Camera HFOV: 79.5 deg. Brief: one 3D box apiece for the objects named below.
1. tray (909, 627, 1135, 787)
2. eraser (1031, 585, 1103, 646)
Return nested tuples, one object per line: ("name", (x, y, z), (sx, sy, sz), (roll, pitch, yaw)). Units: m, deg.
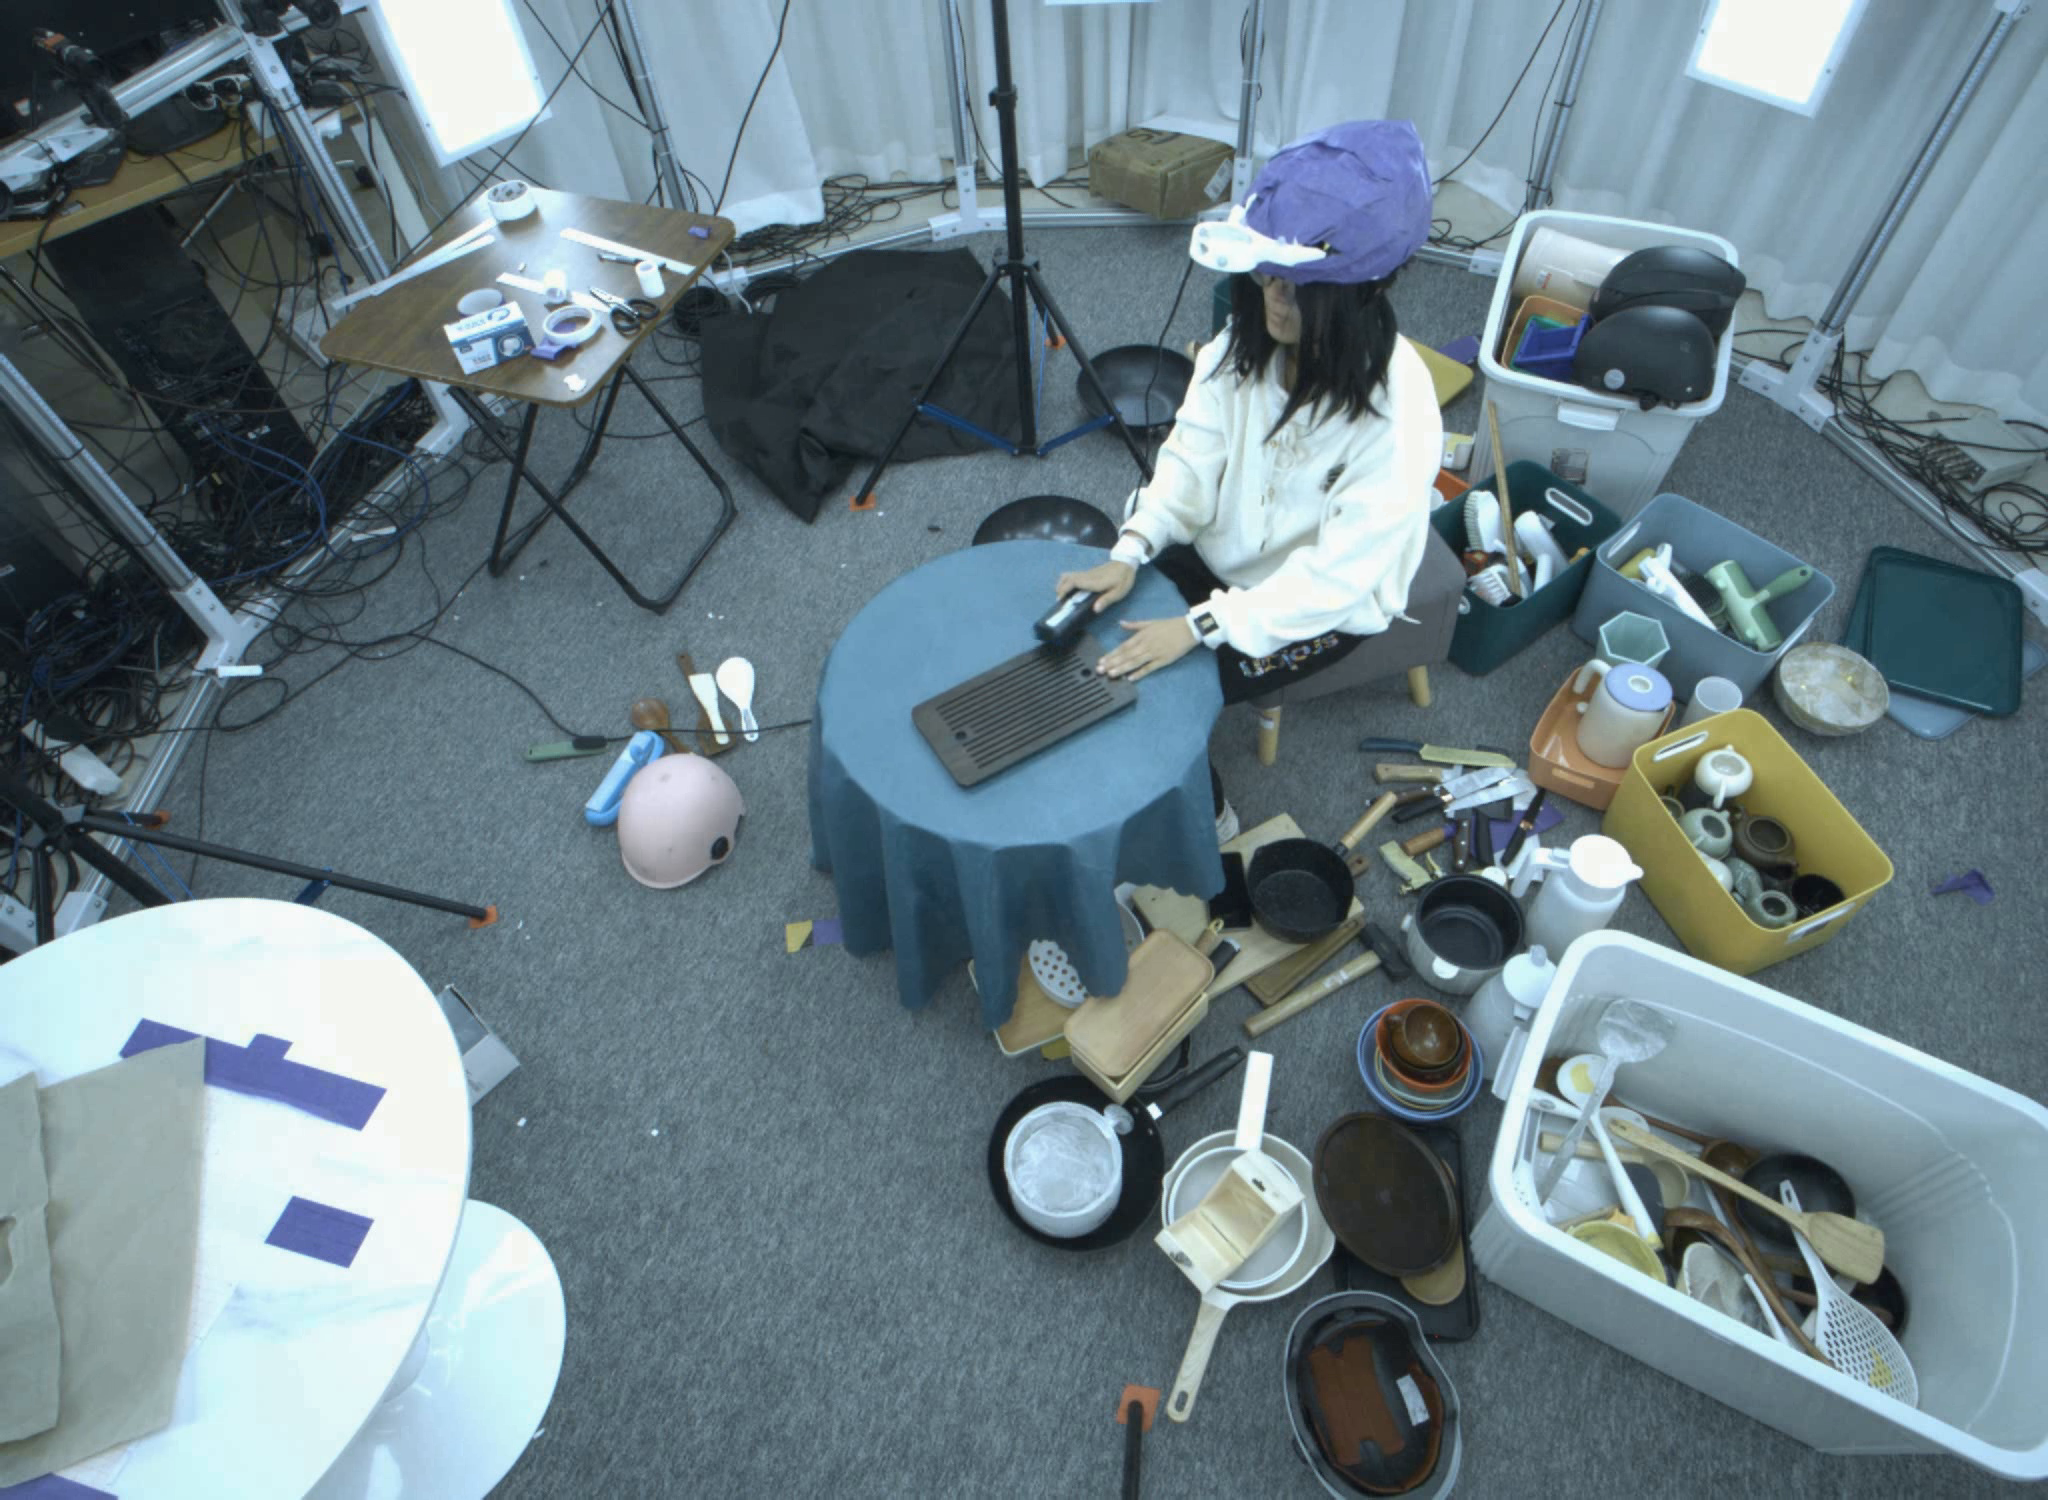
("tray", (-0.002, -0.068, 1.825), (0.308, 0.019, 0.167), (-28, 59, -16))
("eraser", (0.066, -0.207, 1.885), (0.052, 0.031, 0.126), (24, 47, 25))
